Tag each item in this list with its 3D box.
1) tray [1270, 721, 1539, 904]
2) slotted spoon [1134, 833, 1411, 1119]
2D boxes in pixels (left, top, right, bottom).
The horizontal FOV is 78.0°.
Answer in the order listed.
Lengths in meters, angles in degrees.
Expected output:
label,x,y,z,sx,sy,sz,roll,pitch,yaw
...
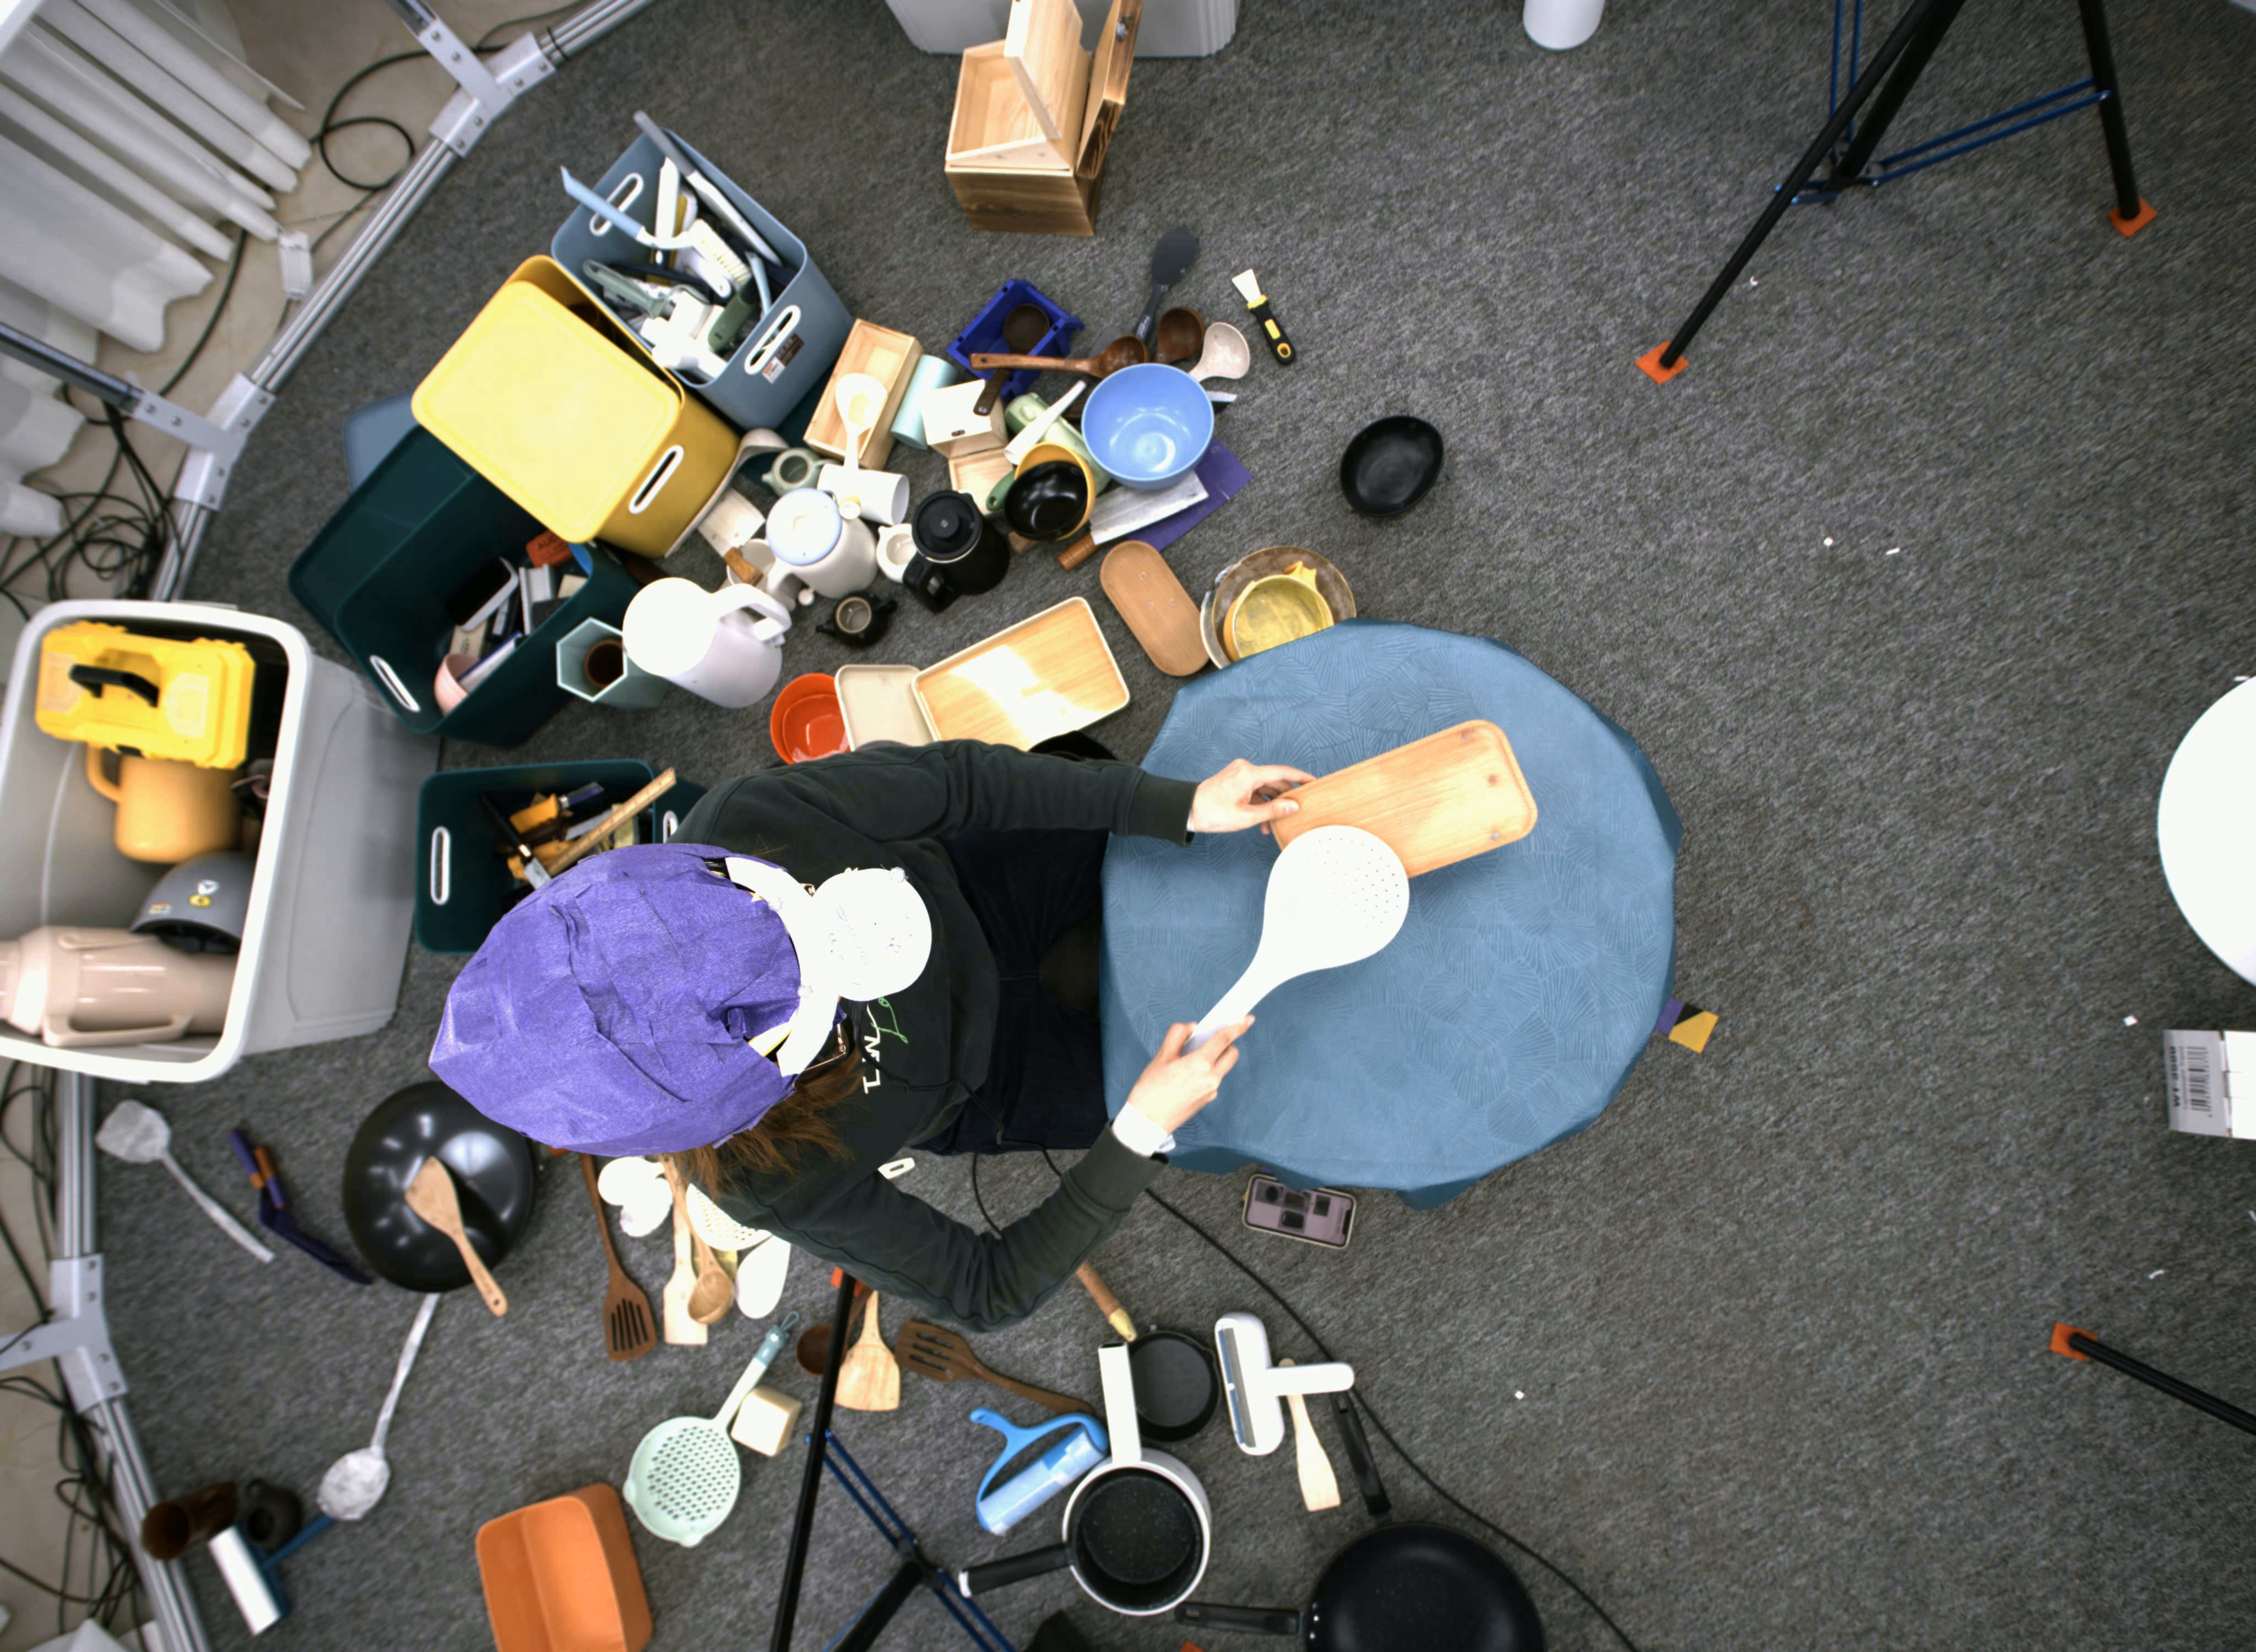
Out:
label,x,y,z,sx,sy,sz,roll,pitch,yaw
tray,0.270,-0.012,1.356,0.254,0.022,0.131,-21,103,26
slotted spoon,0.135,0.149,1.349,0.135,0.046,0.346,42,77,18
